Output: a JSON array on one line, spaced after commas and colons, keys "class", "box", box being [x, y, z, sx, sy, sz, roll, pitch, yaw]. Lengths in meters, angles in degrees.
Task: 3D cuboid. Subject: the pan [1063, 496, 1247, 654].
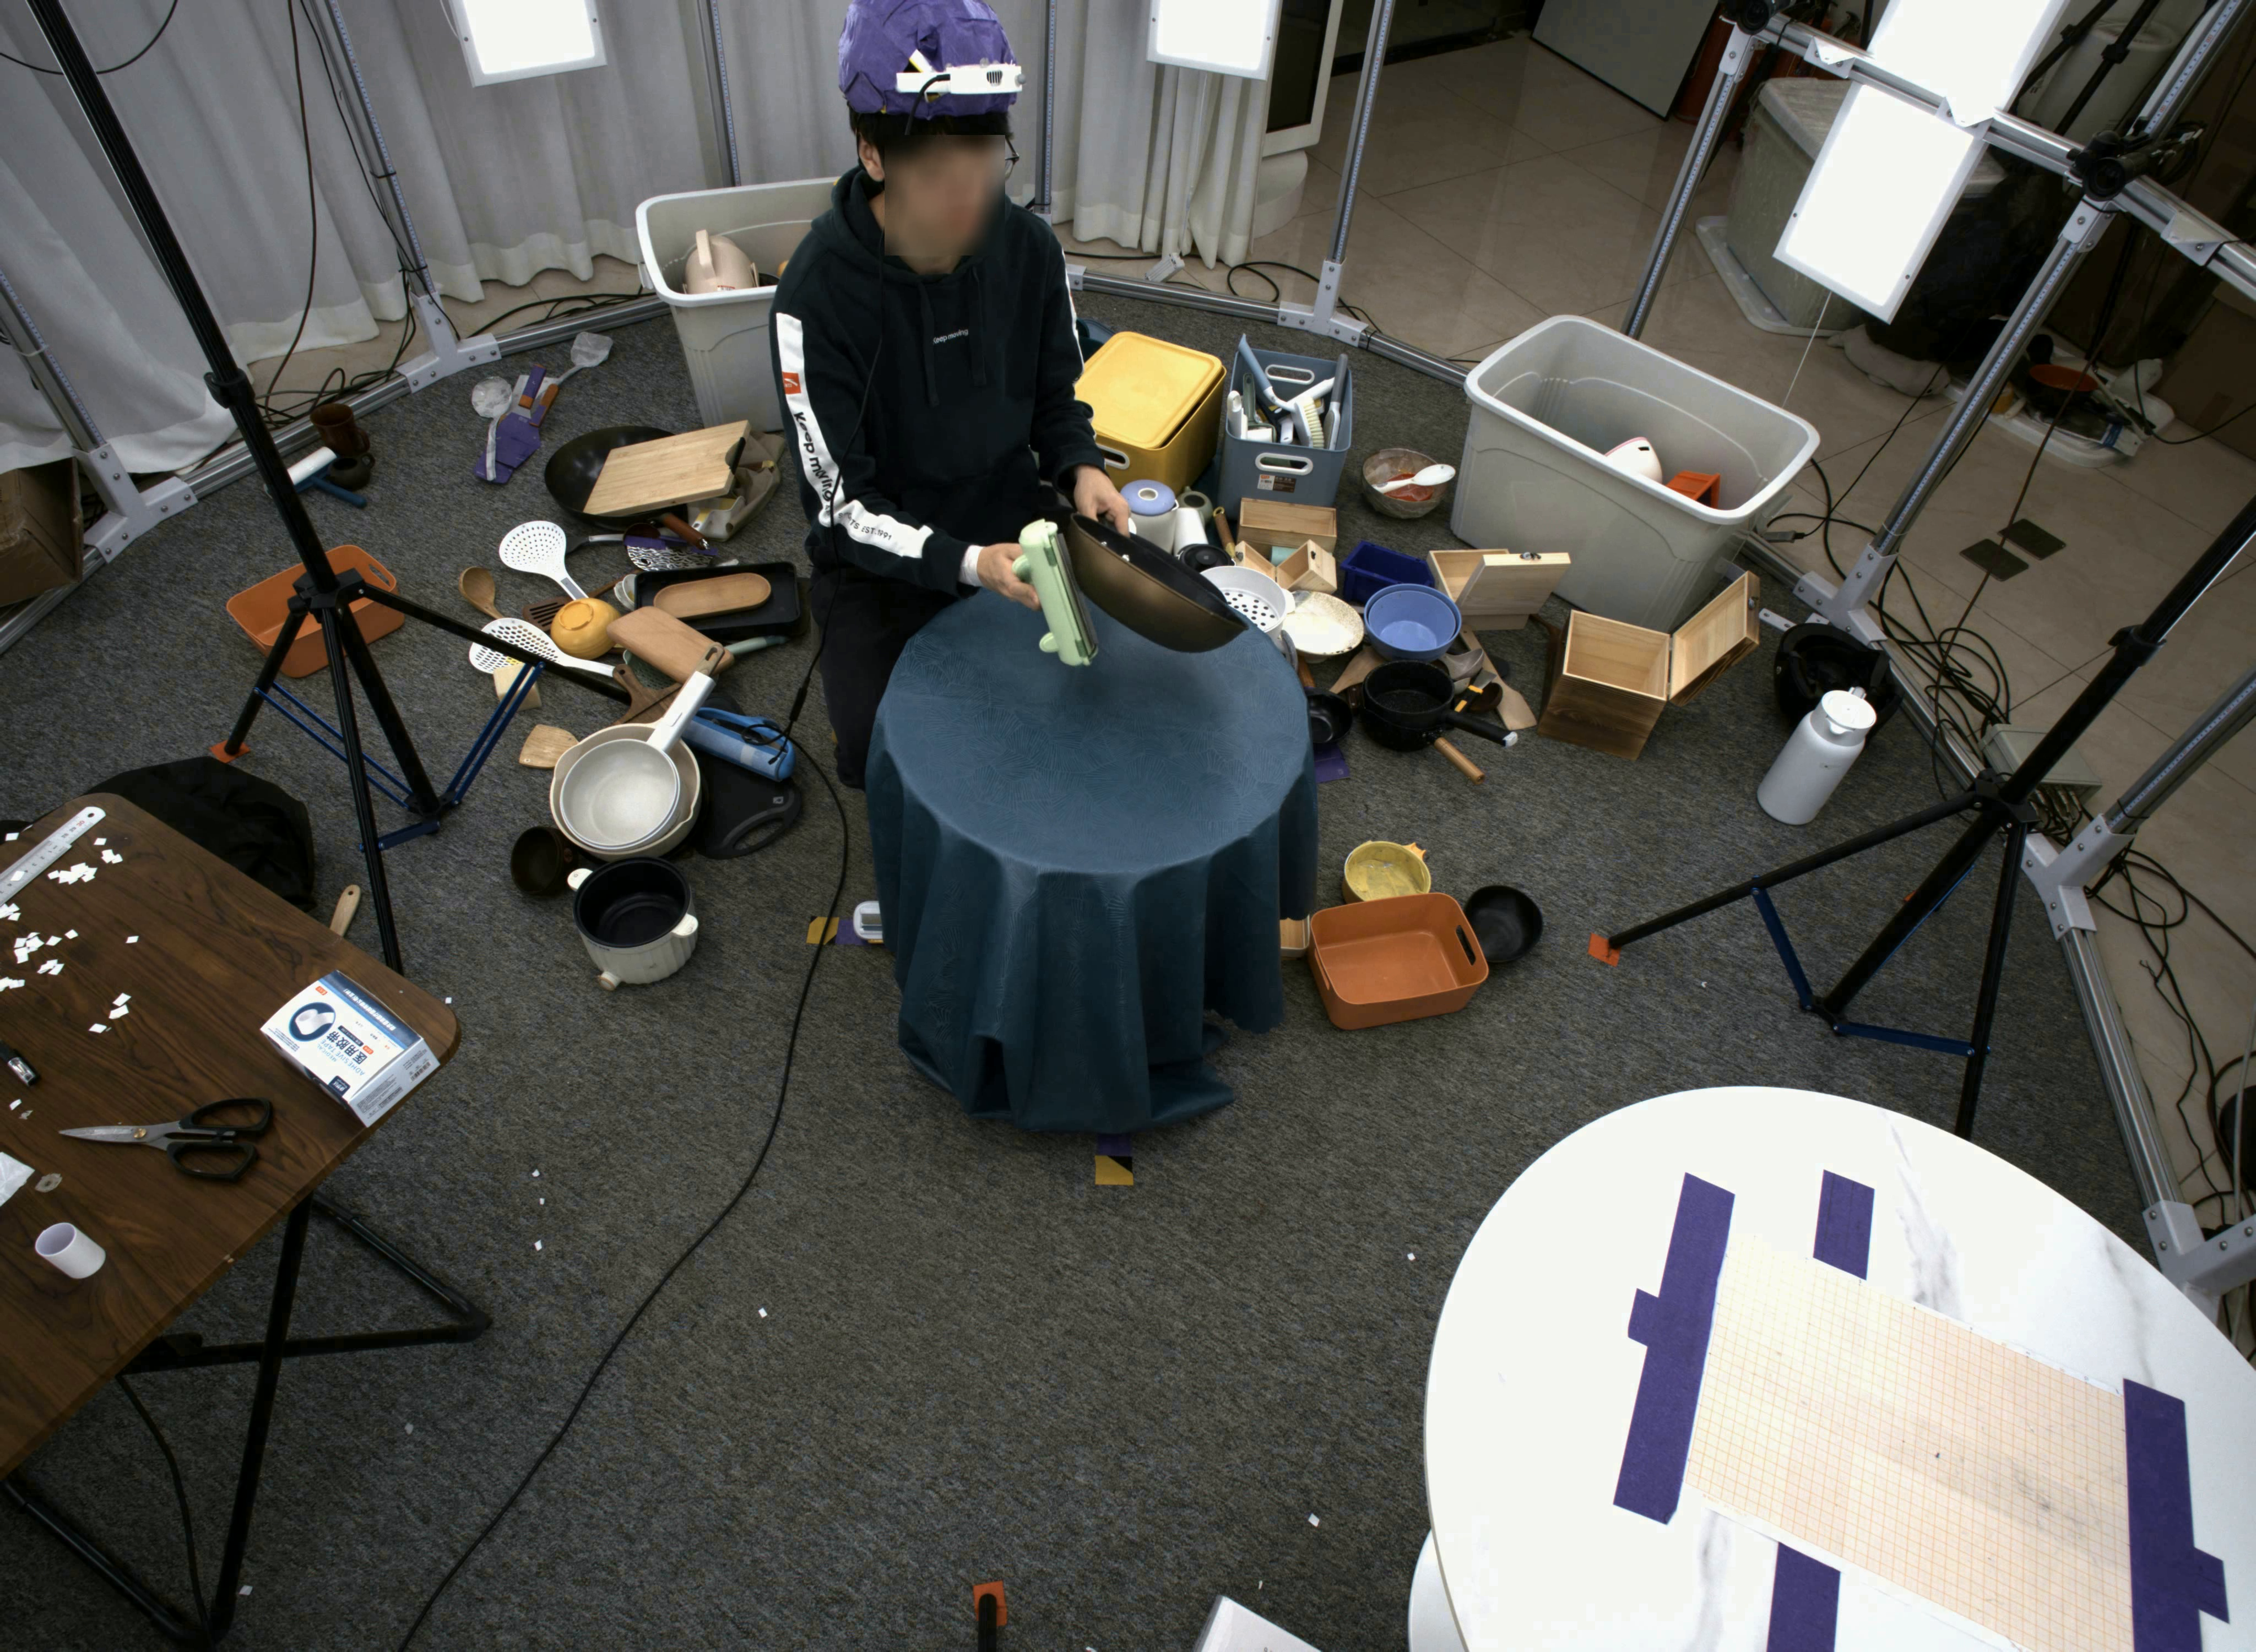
[{"class": "pan", "box": [-0.015, -0.357, 1.792, 0.284, 0.086, 0.473, 22, 19, -35]}]

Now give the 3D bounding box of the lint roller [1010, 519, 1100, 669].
[{"class": "lint roller", "box": [-0.126, -0.314, 1.724, 0.083, 0.194, 0.186, -34, 33, -22]}]
